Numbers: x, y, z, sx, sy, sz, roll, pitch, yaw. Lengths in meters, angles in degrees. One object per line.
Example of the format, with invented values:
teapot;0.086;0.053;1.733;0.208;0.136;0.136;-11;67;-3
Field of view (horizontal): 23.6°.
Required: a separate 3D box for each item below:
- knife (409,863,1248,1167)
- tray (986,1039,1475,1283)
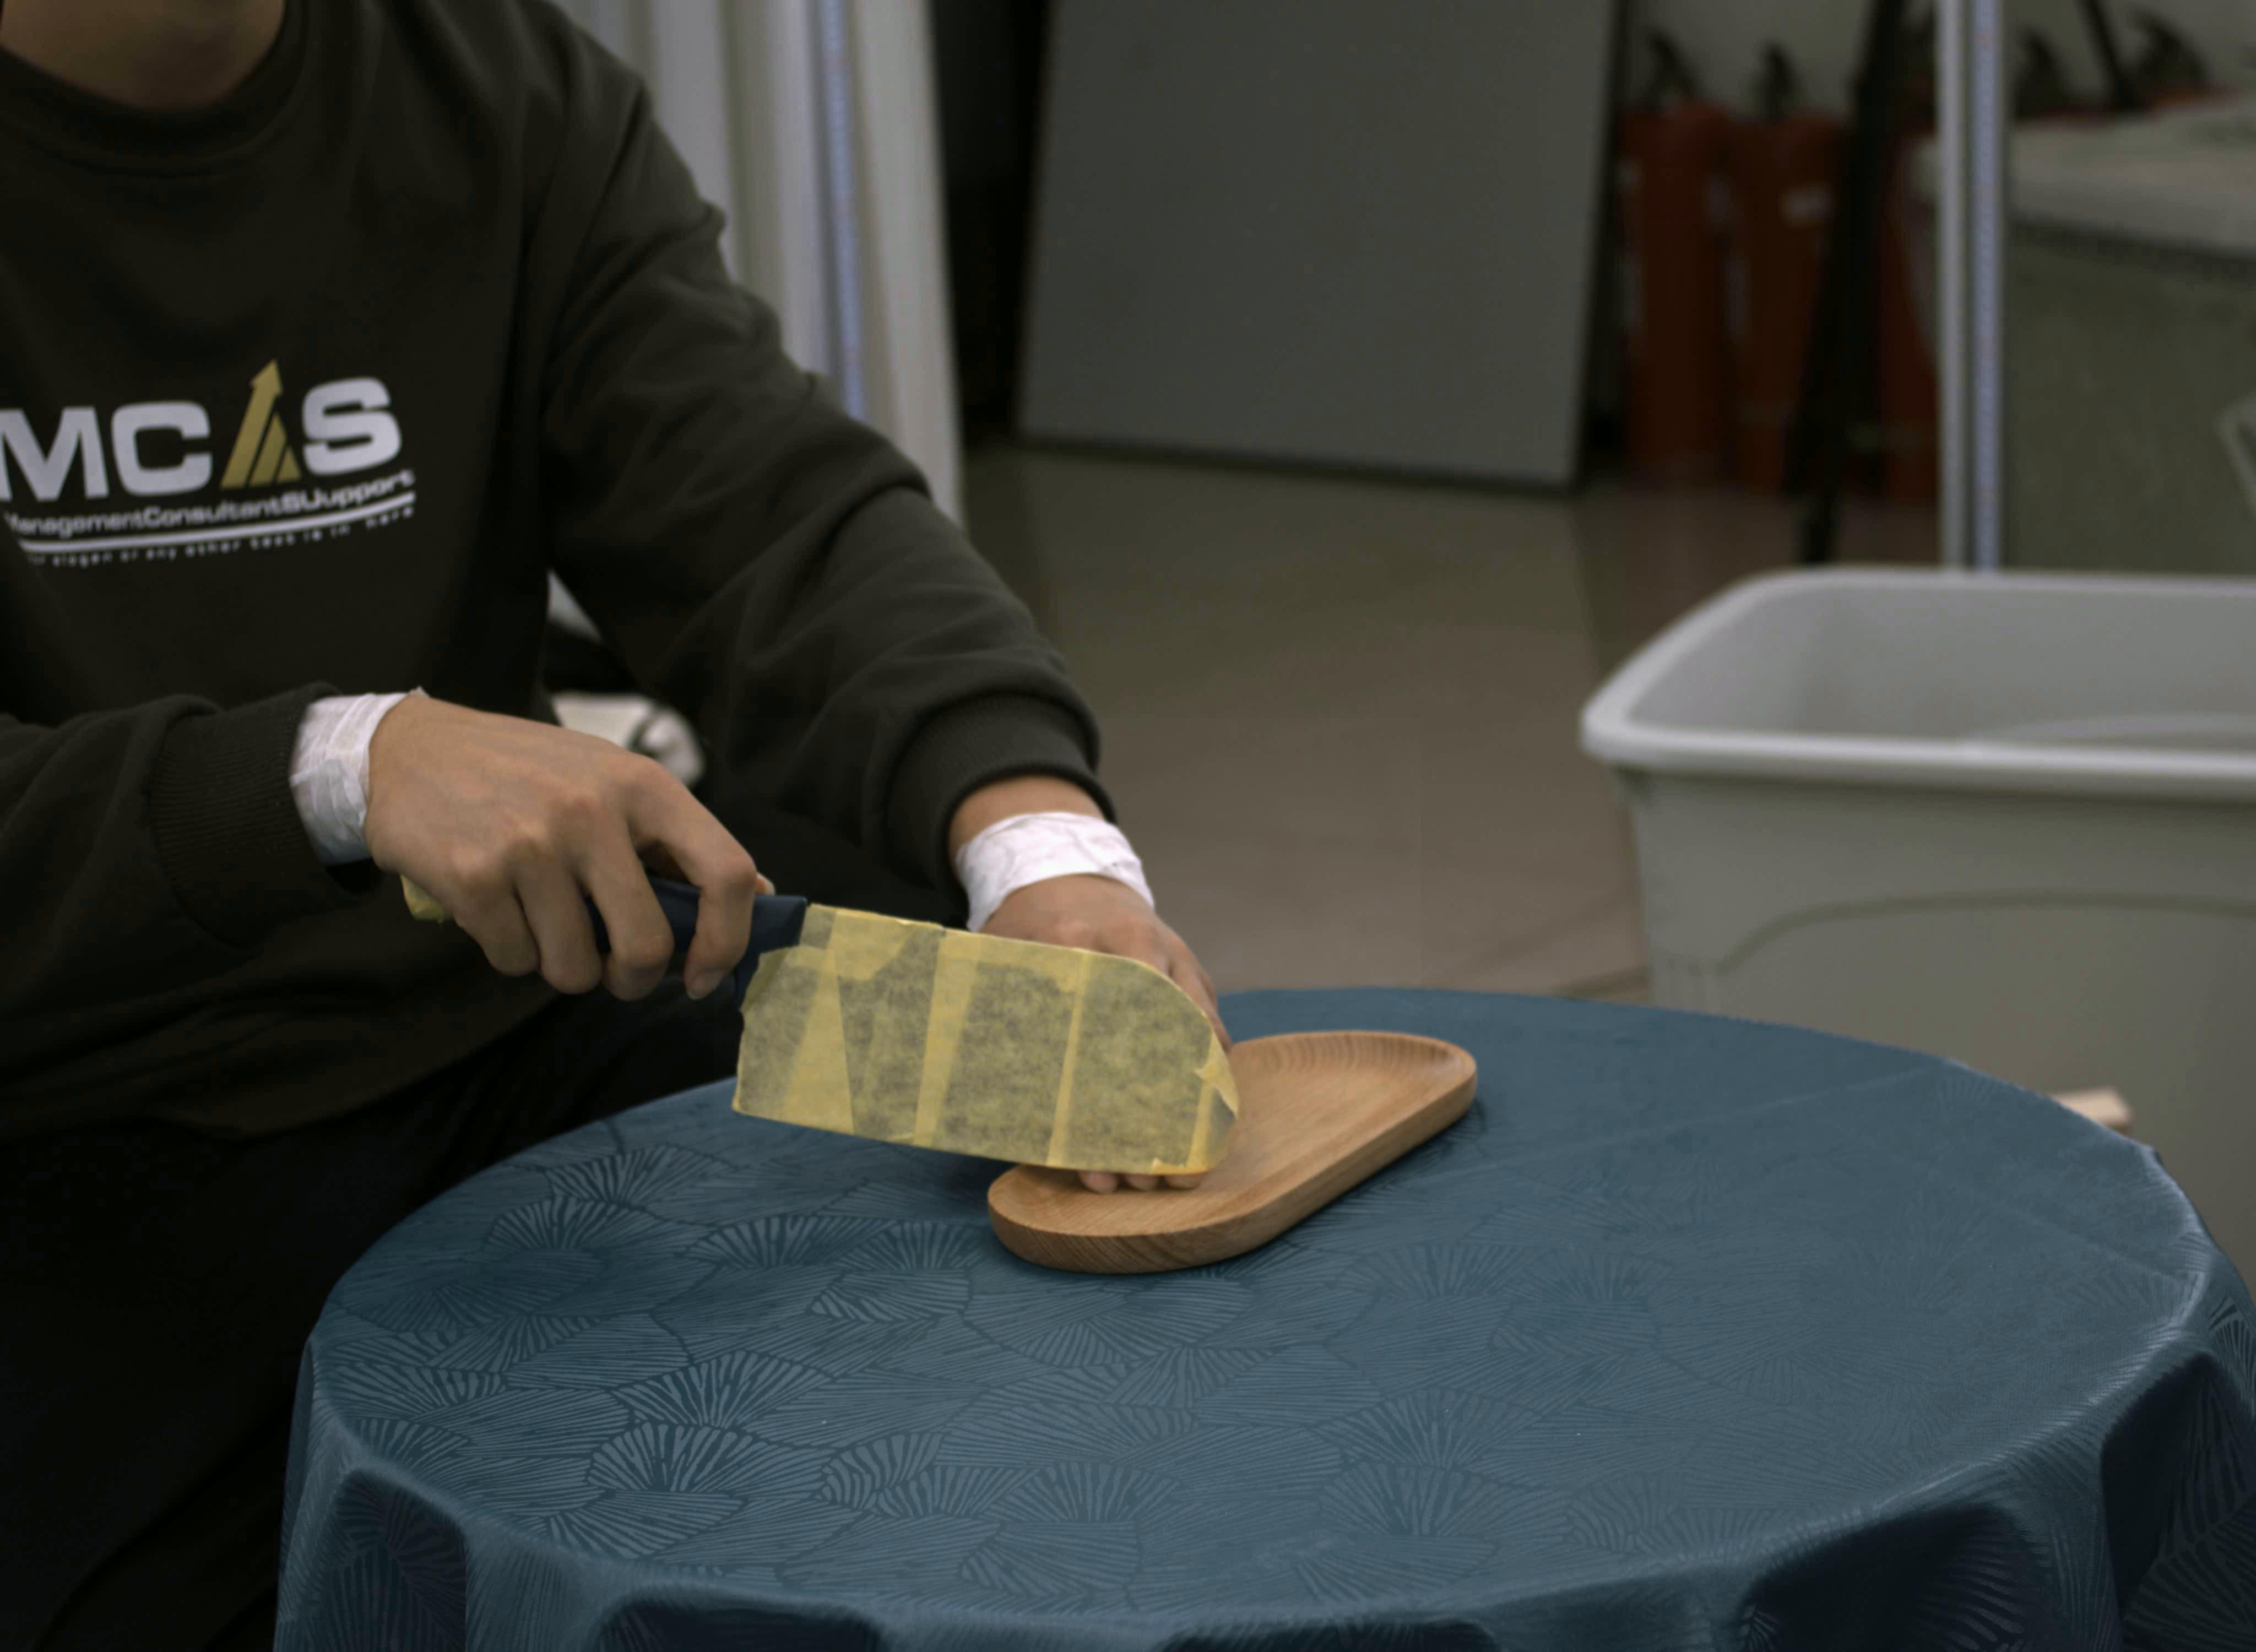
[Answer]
knife;-0.099;0.061;1.762;0.287;0.082;0.027;12;-1;9
tray;0.037;0.109;1.782;0.102;0.020;0.228;2;16;31
